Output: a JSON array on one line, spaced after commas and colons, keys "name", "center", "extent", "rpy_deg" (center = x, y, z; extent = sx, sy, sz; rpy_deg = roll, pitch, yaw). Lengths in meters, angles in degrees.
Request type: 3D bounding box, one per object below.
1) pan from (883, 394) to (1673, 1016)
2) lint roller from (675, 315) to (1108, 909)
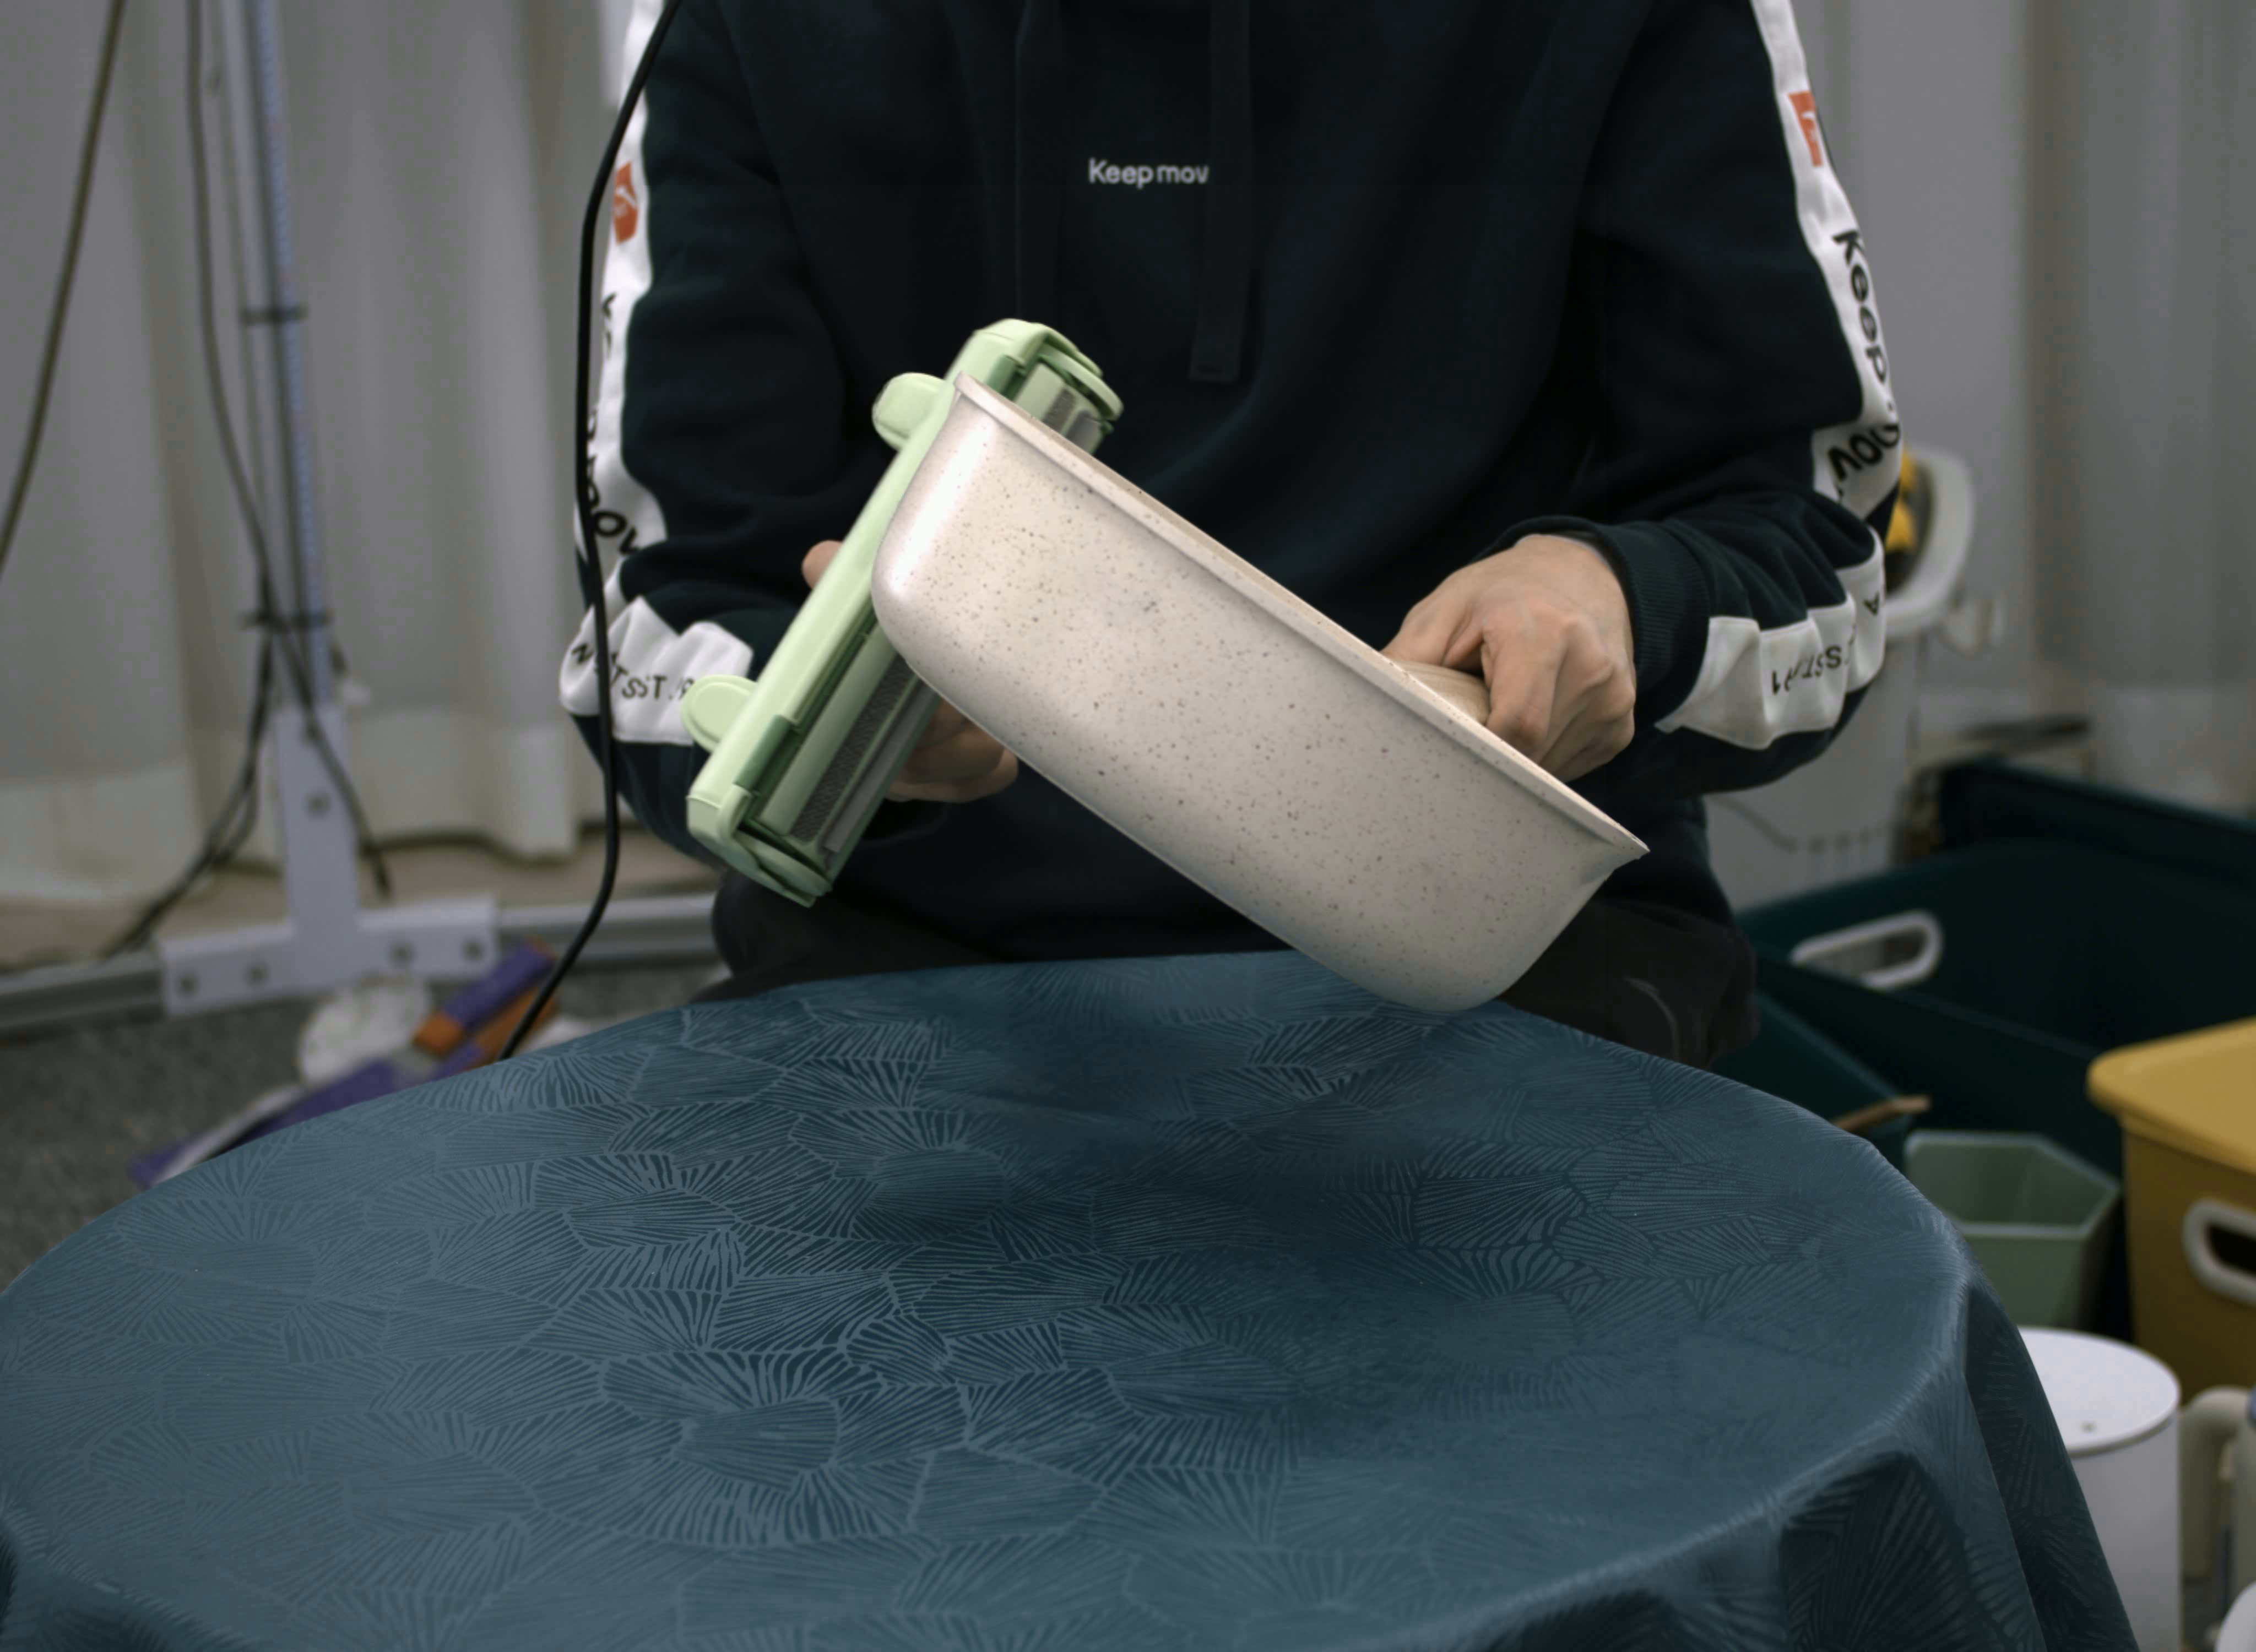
[{"name": "pan", "center": [0.068, -0.023, 1.732], "extent": [0.265, 0.102, 0.432], "rpy_deg": [33, 3, 20]}, {"name": "lint roller", "center": [-0.082, -0.065, 1.800], "extent": [0.082, 0.199, 0.182], "rpy_deg": [30, -10, 1]}]
